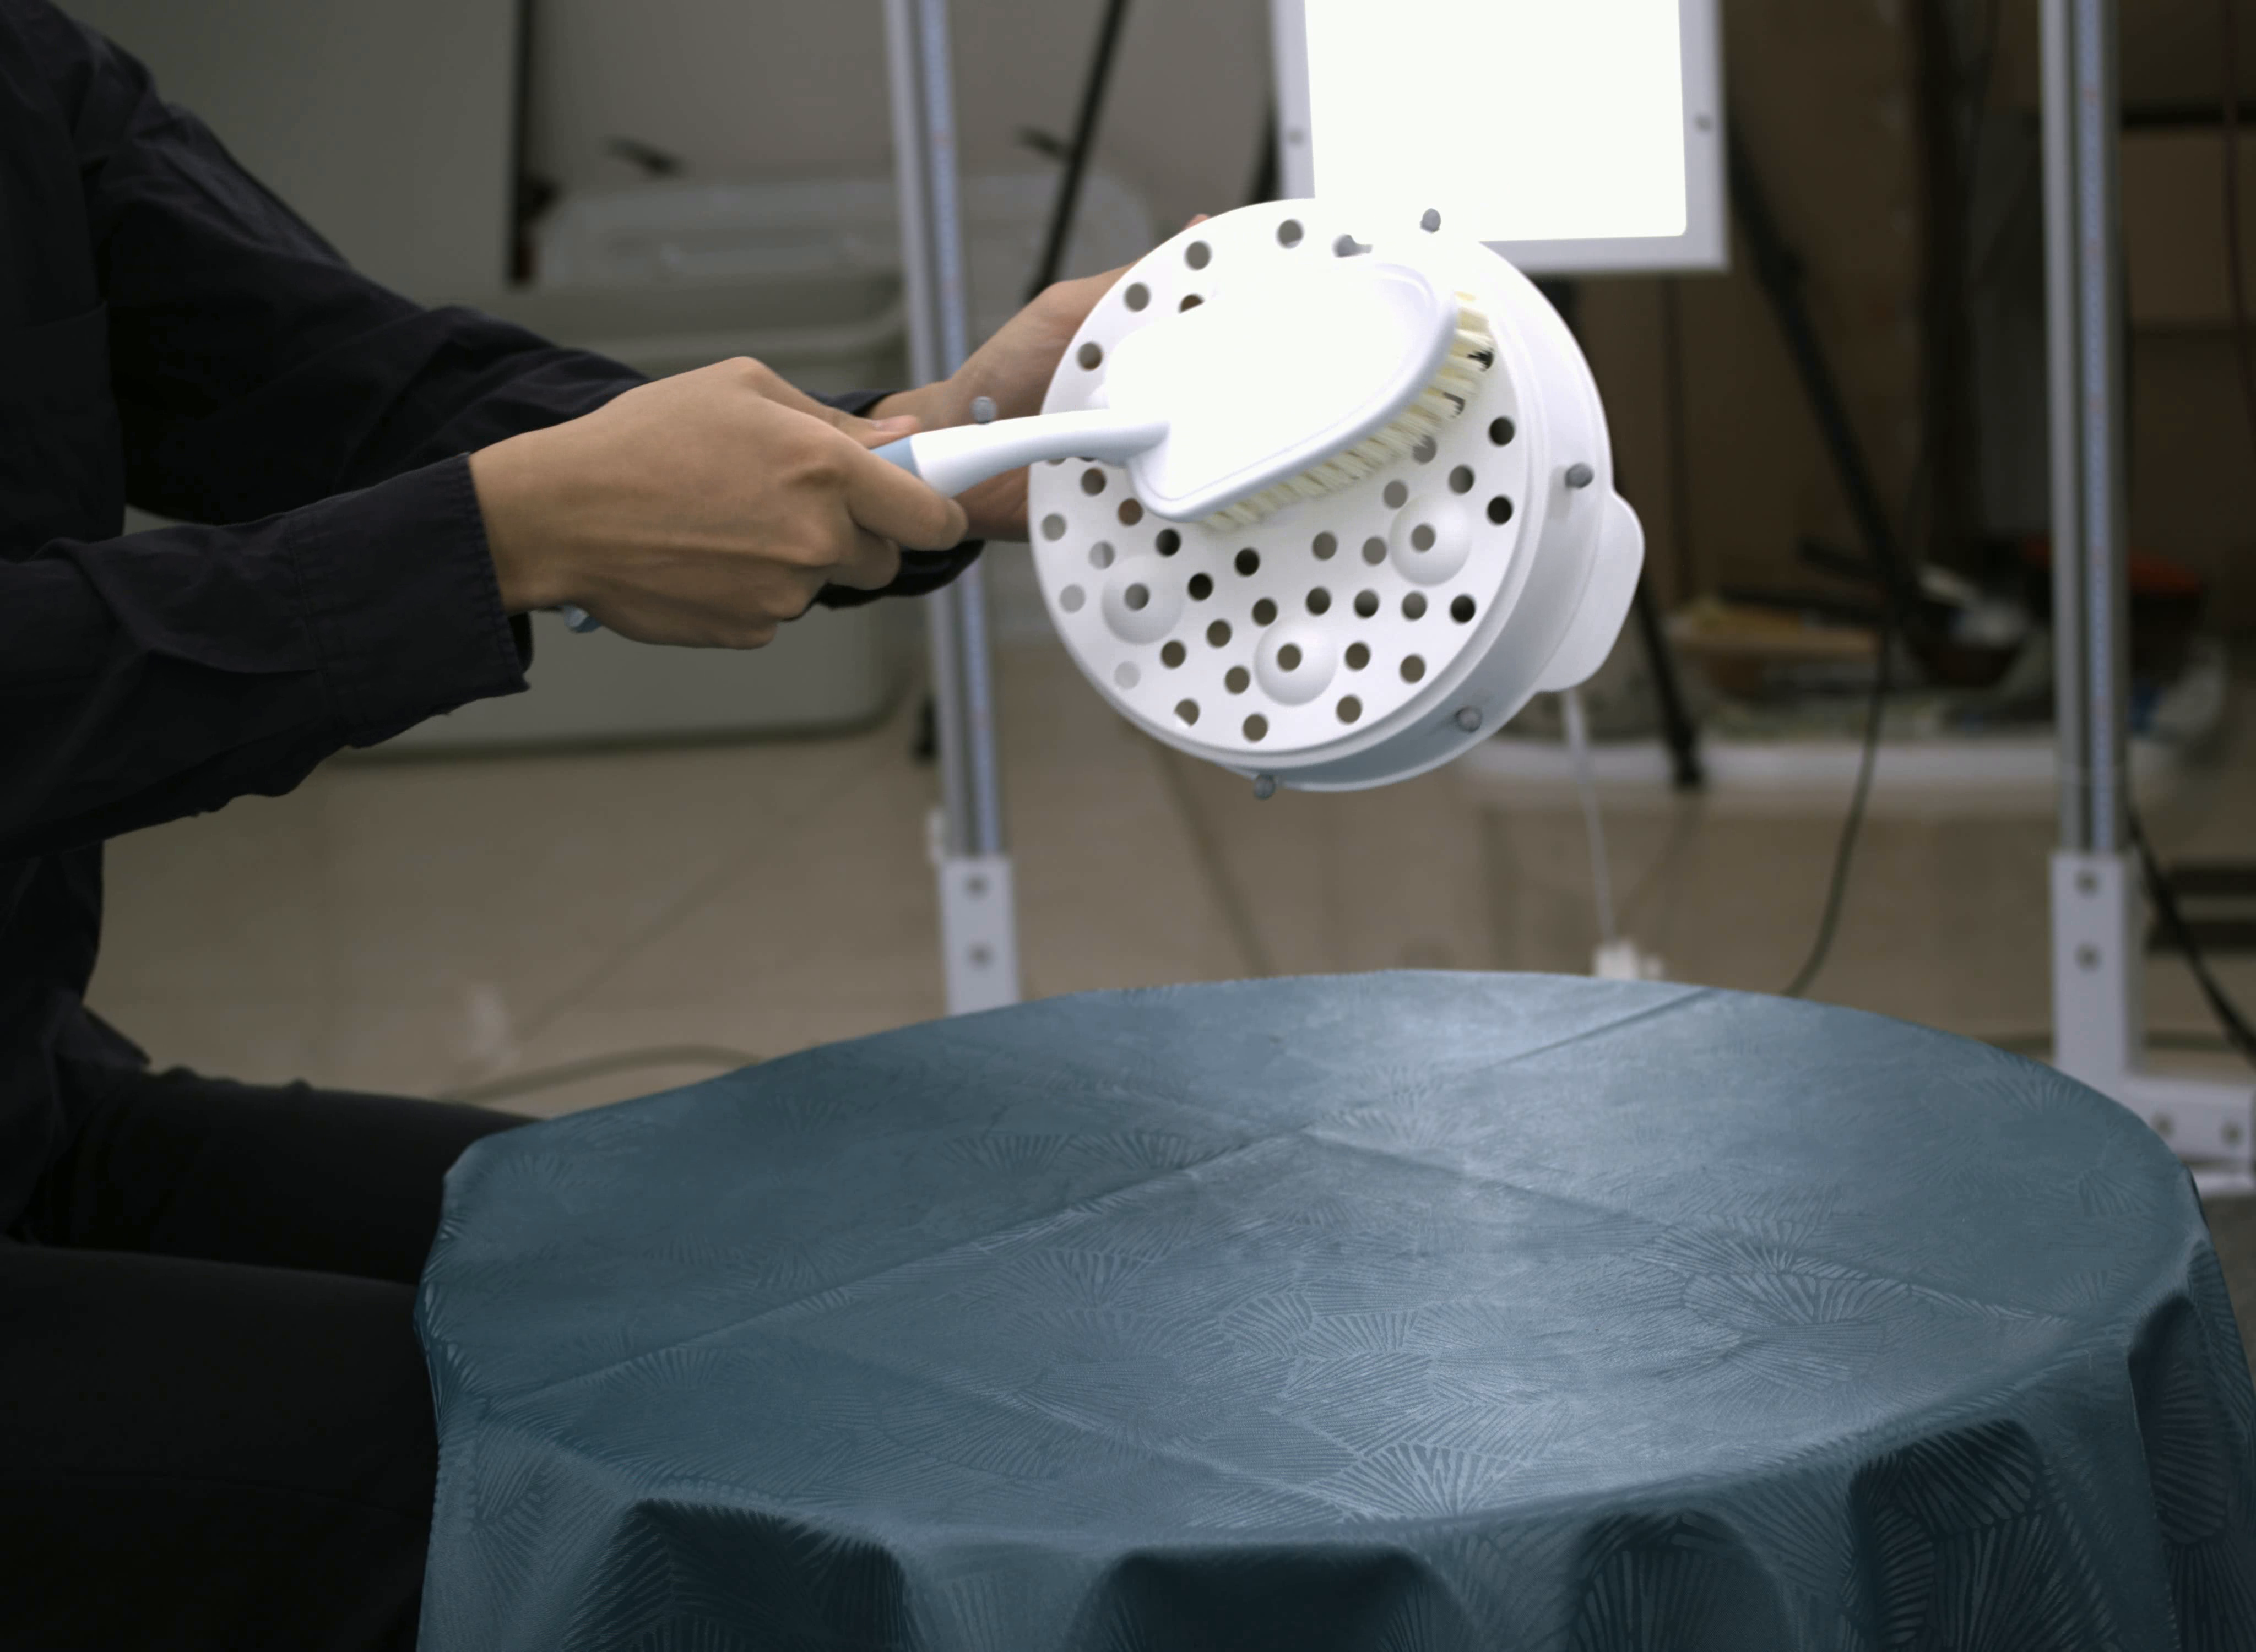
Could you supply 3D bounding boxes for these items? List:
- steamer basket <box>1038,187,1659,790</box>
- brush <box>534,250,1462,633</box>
[{"bbox_3d":[0.066,-0.115,1.865,0.234,0.203,0.068,22,5,27],"label":"steamer basket"},{"bbox_3d":[-0.042,-0.123,1.844,0.328,0.084,0.083,-19,39,12],"label":"brush"}]
